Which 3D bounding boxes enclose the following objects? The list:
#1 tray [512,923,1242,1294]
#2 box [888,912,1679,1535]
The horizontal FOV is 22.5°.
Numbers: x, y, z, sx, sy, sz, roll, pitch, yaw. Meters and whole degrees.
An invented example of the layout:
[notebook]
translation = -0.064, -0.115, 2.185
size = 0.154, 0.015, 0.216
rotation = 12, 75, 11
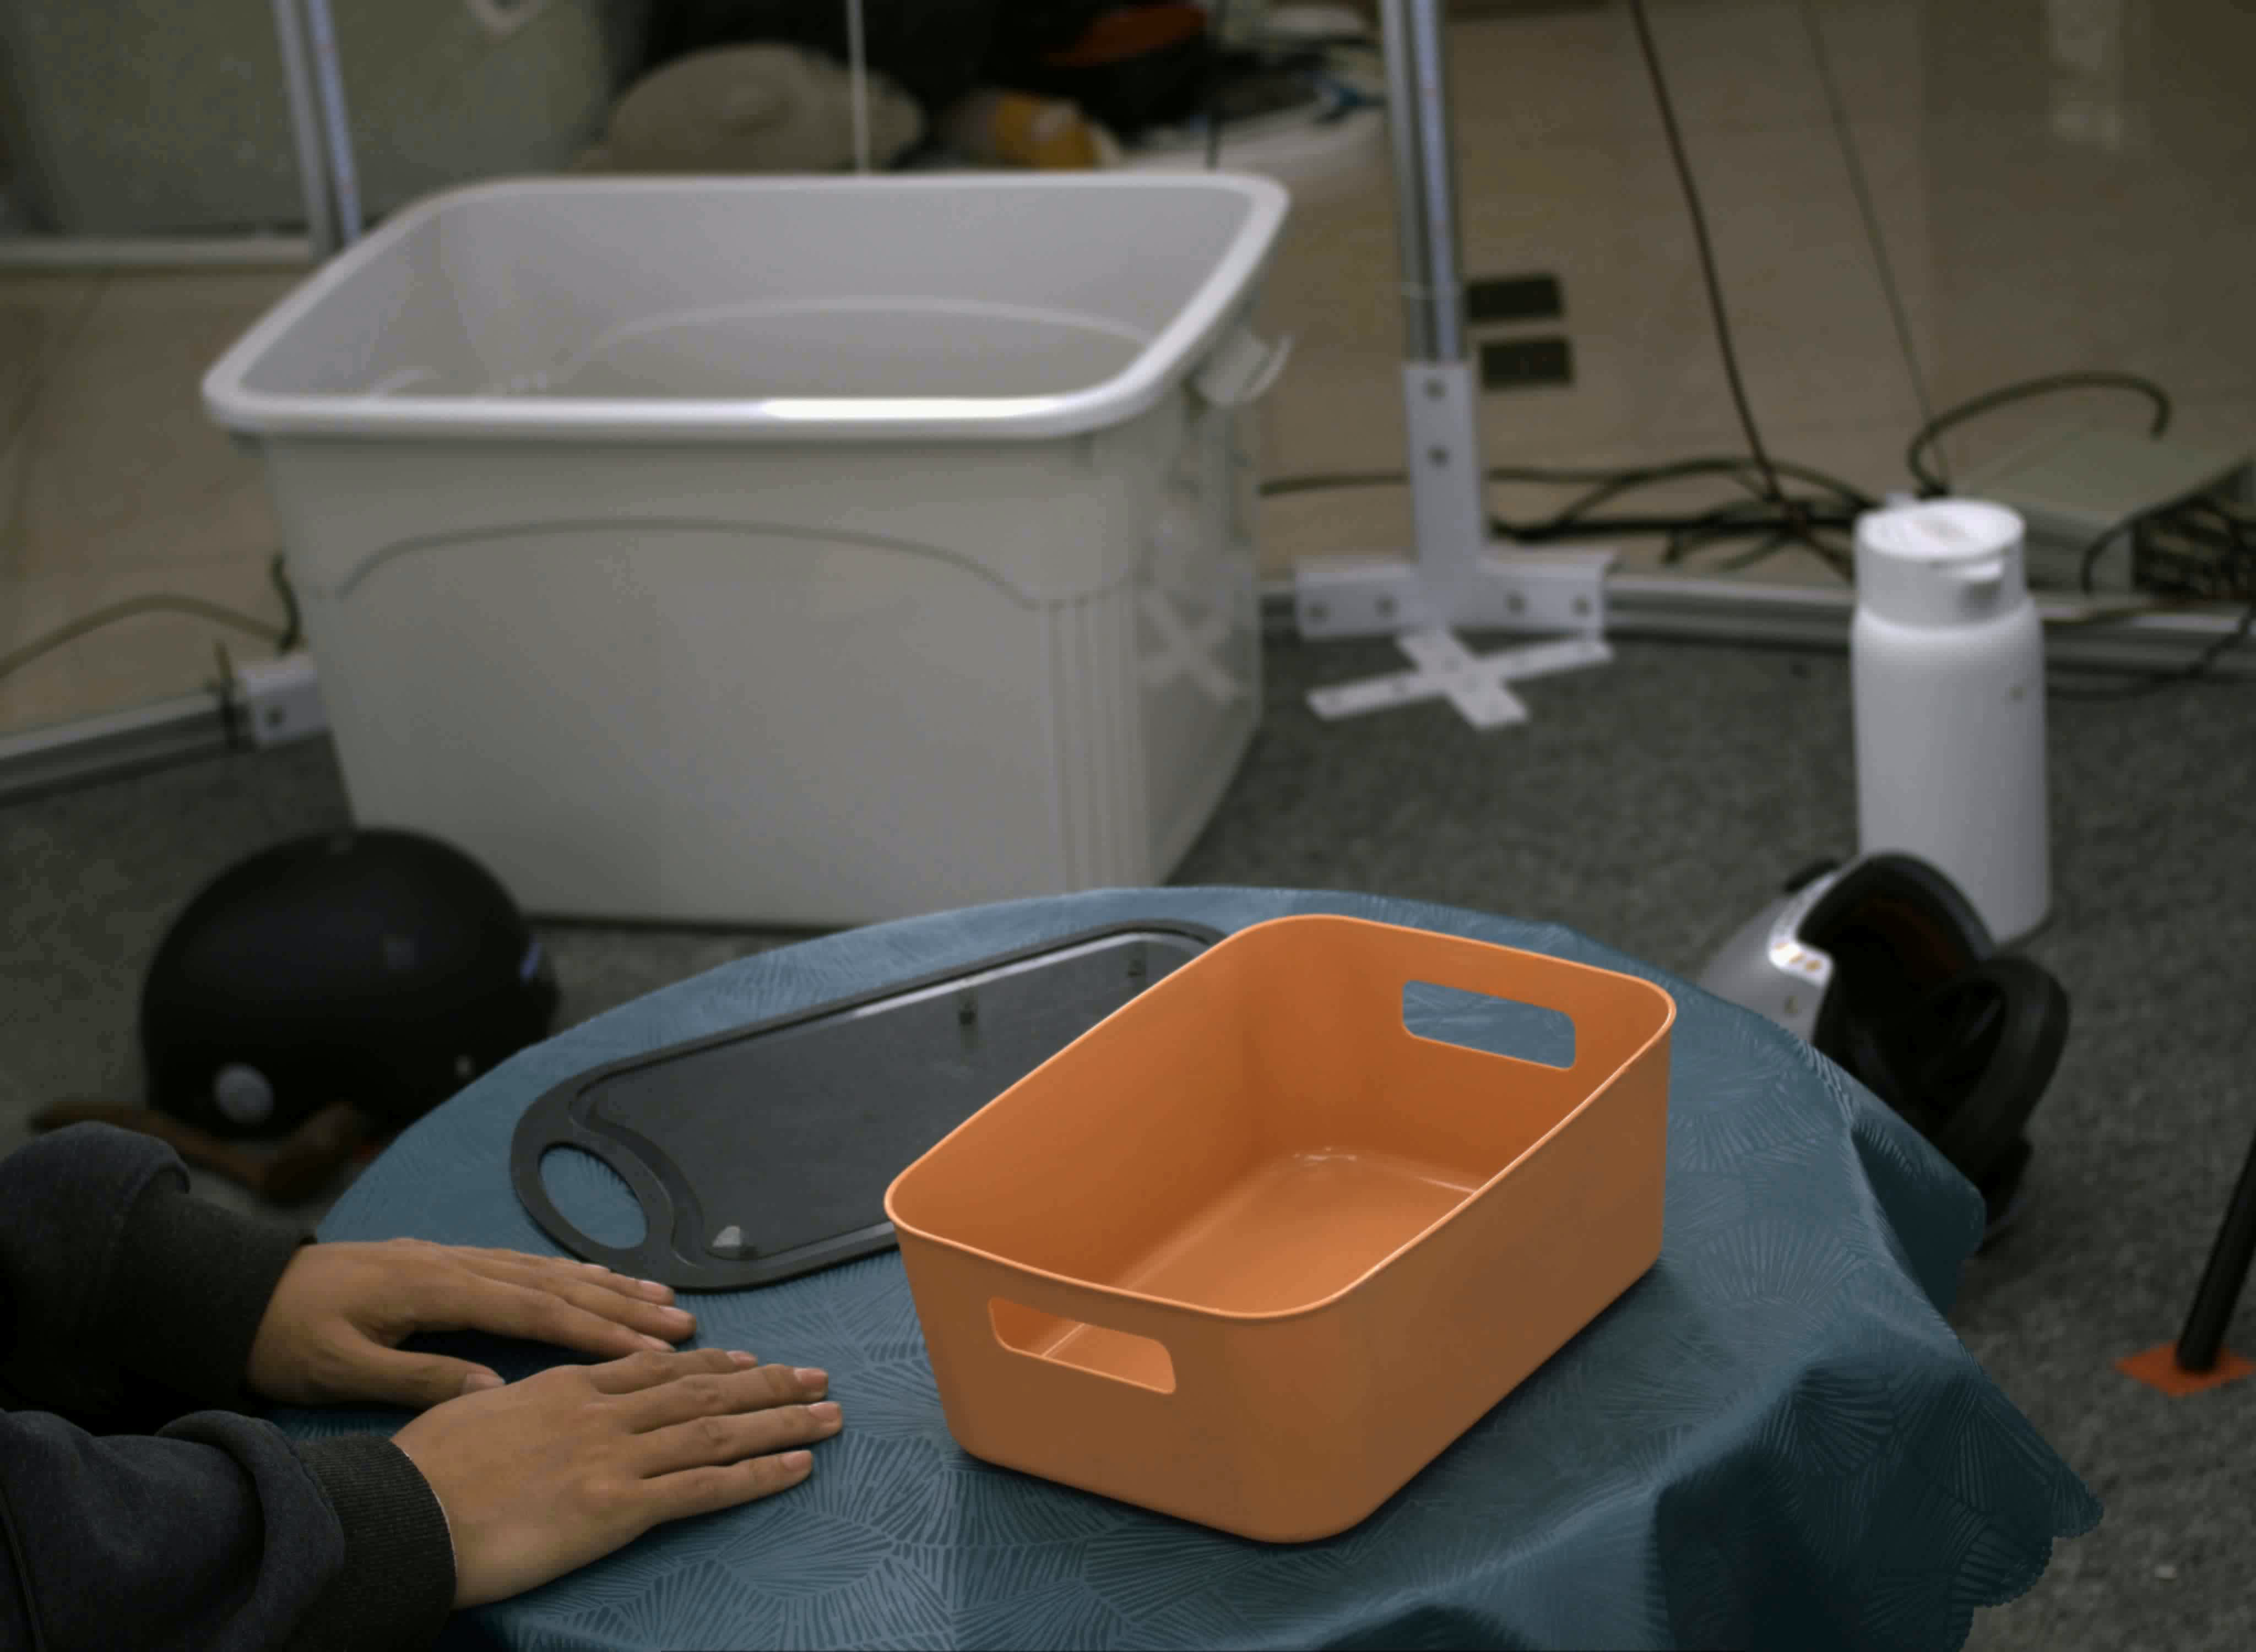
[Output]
[tray]
translation = -0.080, 0.108, 2.226
size = 0.324, 0.010, 0.208
rotation = -15, 26, -18
[box]
translation = 0.059, 0.139, 2.006
size = 0.198, 0.104, 0.270
rotation = 12, 31, 34
